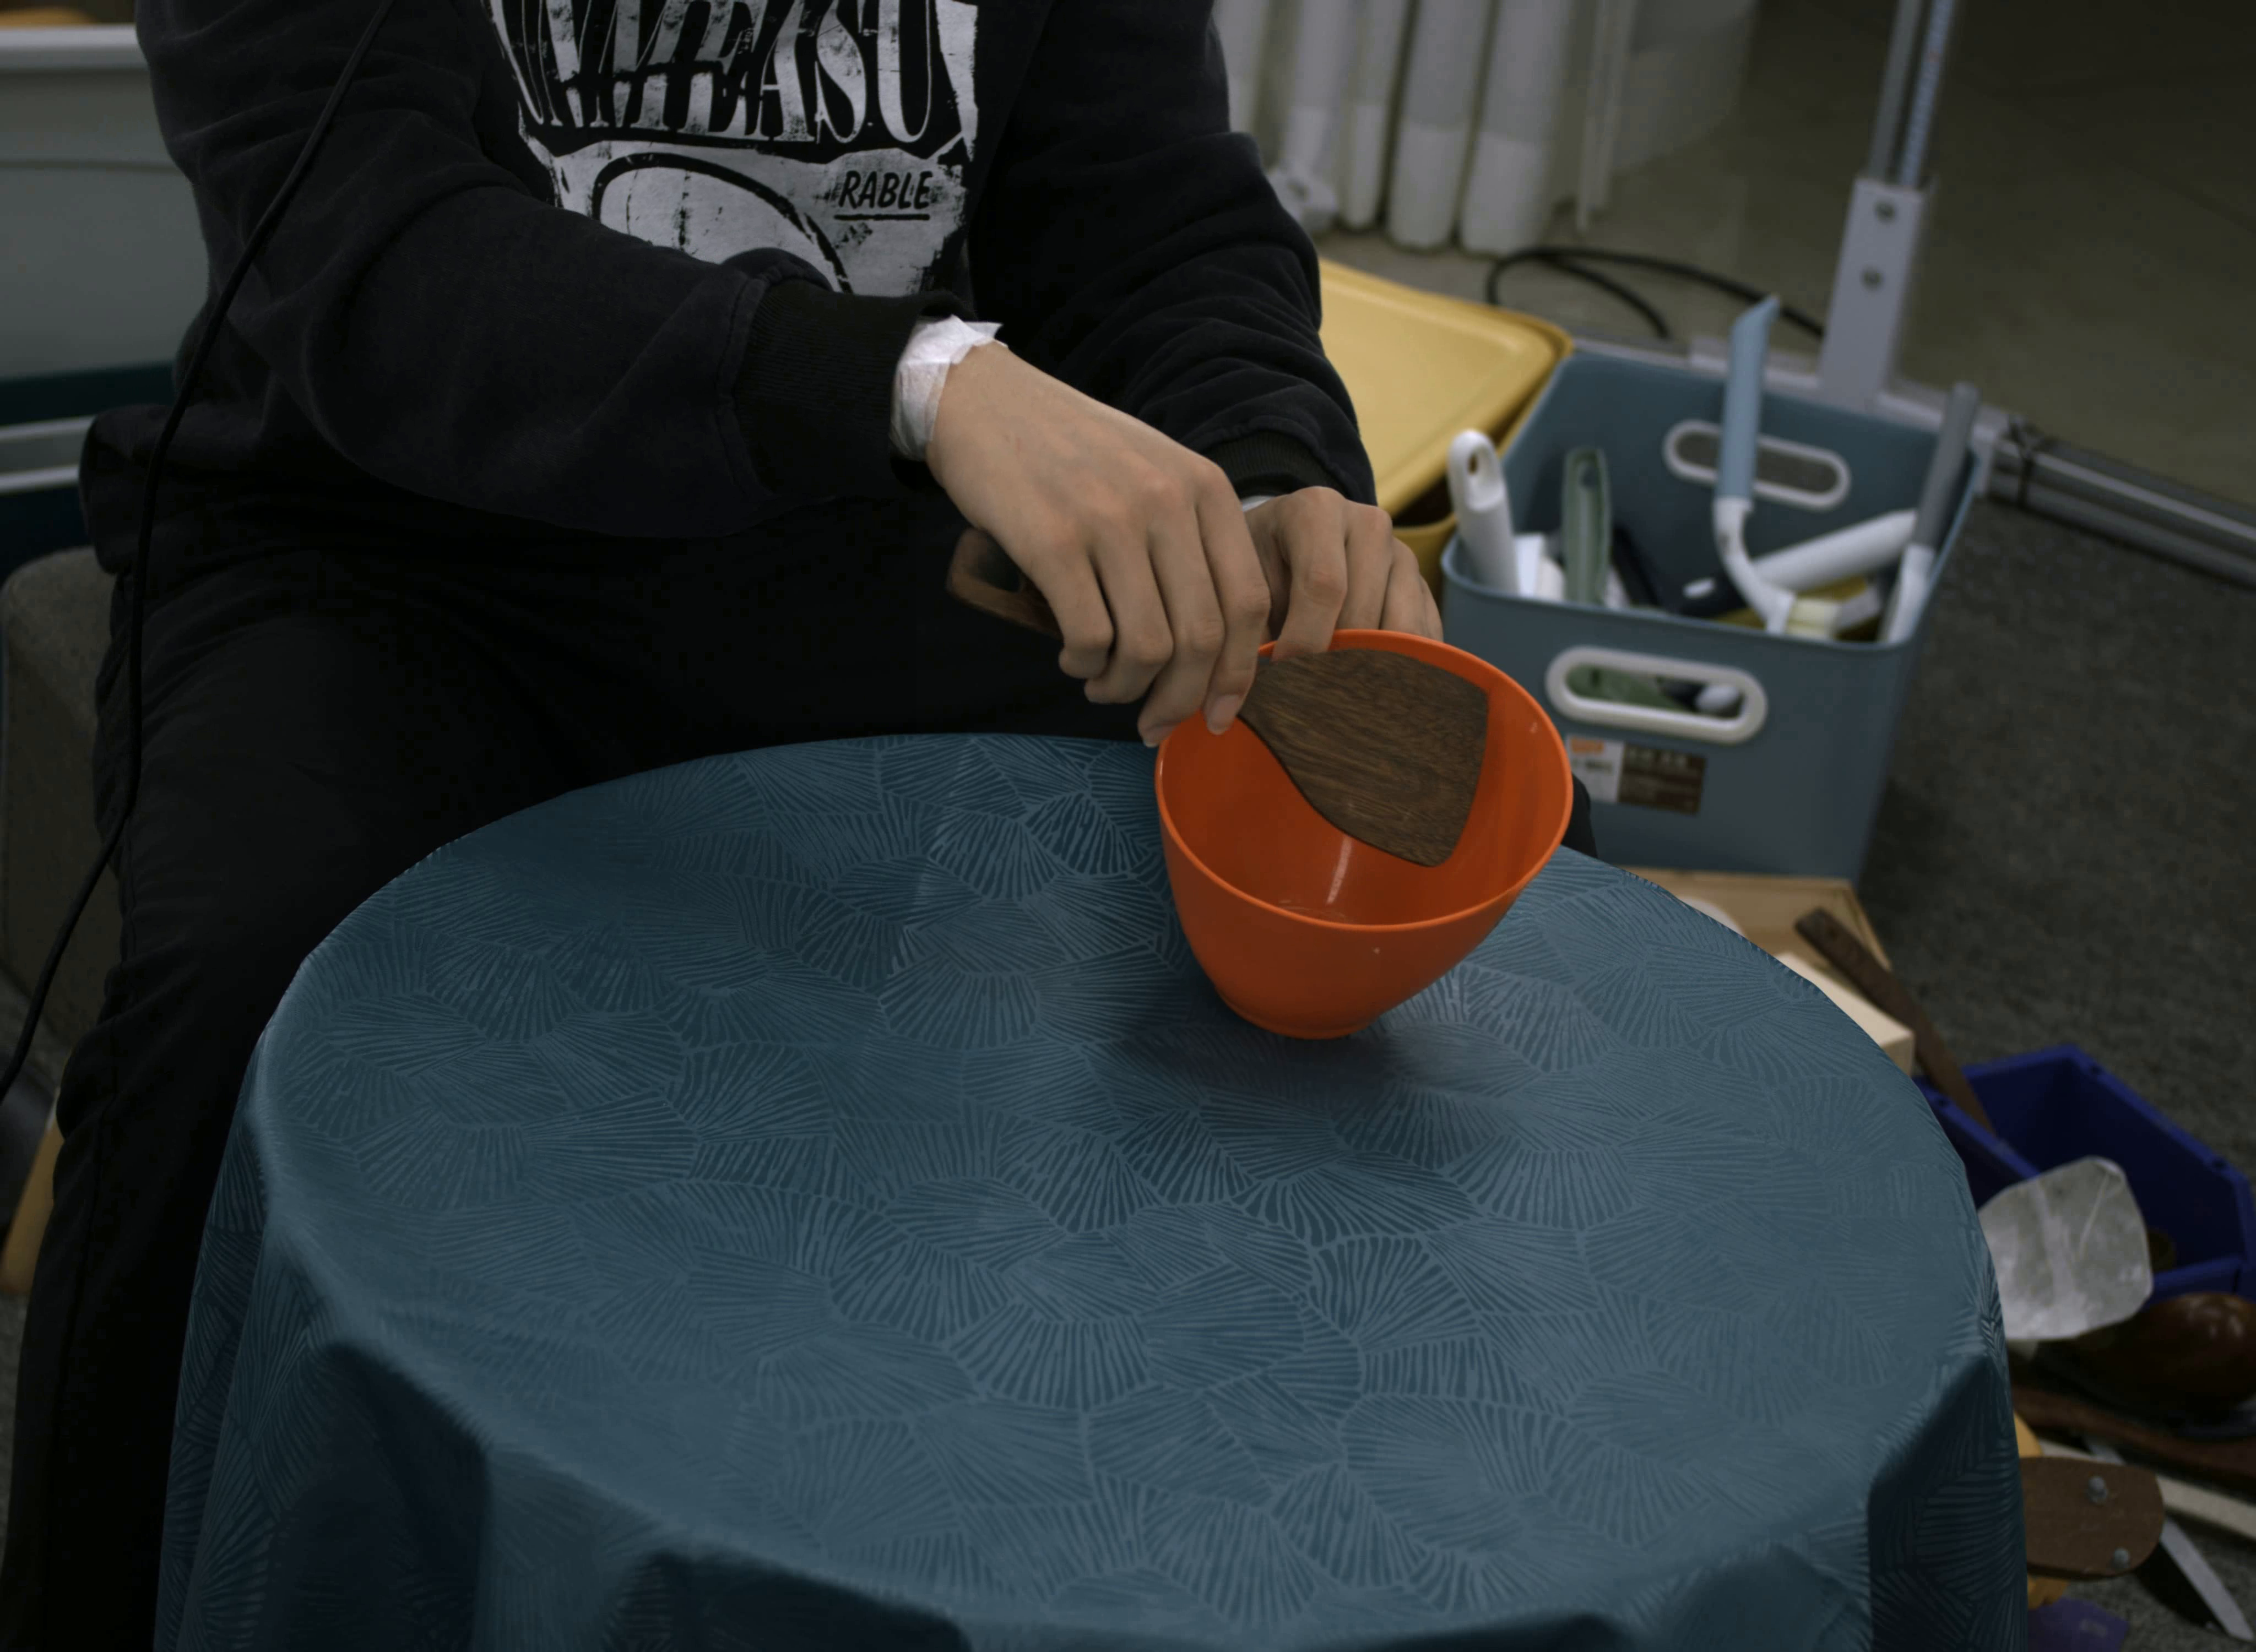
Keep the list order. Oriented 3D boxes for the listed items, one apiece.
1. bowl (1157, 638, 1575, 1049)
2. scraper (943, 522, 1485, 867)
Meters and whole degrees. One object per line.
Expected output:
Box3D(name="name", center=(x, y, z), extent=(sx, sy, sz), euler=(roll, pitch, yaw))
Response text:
Box3D(name="bowl", center=(0.078, 0.016, 1.906), extent=(0.147, 0.104, 0.149), euler=(6, 39, -6))
Box3D(name="scraper", center=(0.030, -0.055, 1.856), extent=(0.210, 0.076, 0.011), euler=(24, -21, -18))
